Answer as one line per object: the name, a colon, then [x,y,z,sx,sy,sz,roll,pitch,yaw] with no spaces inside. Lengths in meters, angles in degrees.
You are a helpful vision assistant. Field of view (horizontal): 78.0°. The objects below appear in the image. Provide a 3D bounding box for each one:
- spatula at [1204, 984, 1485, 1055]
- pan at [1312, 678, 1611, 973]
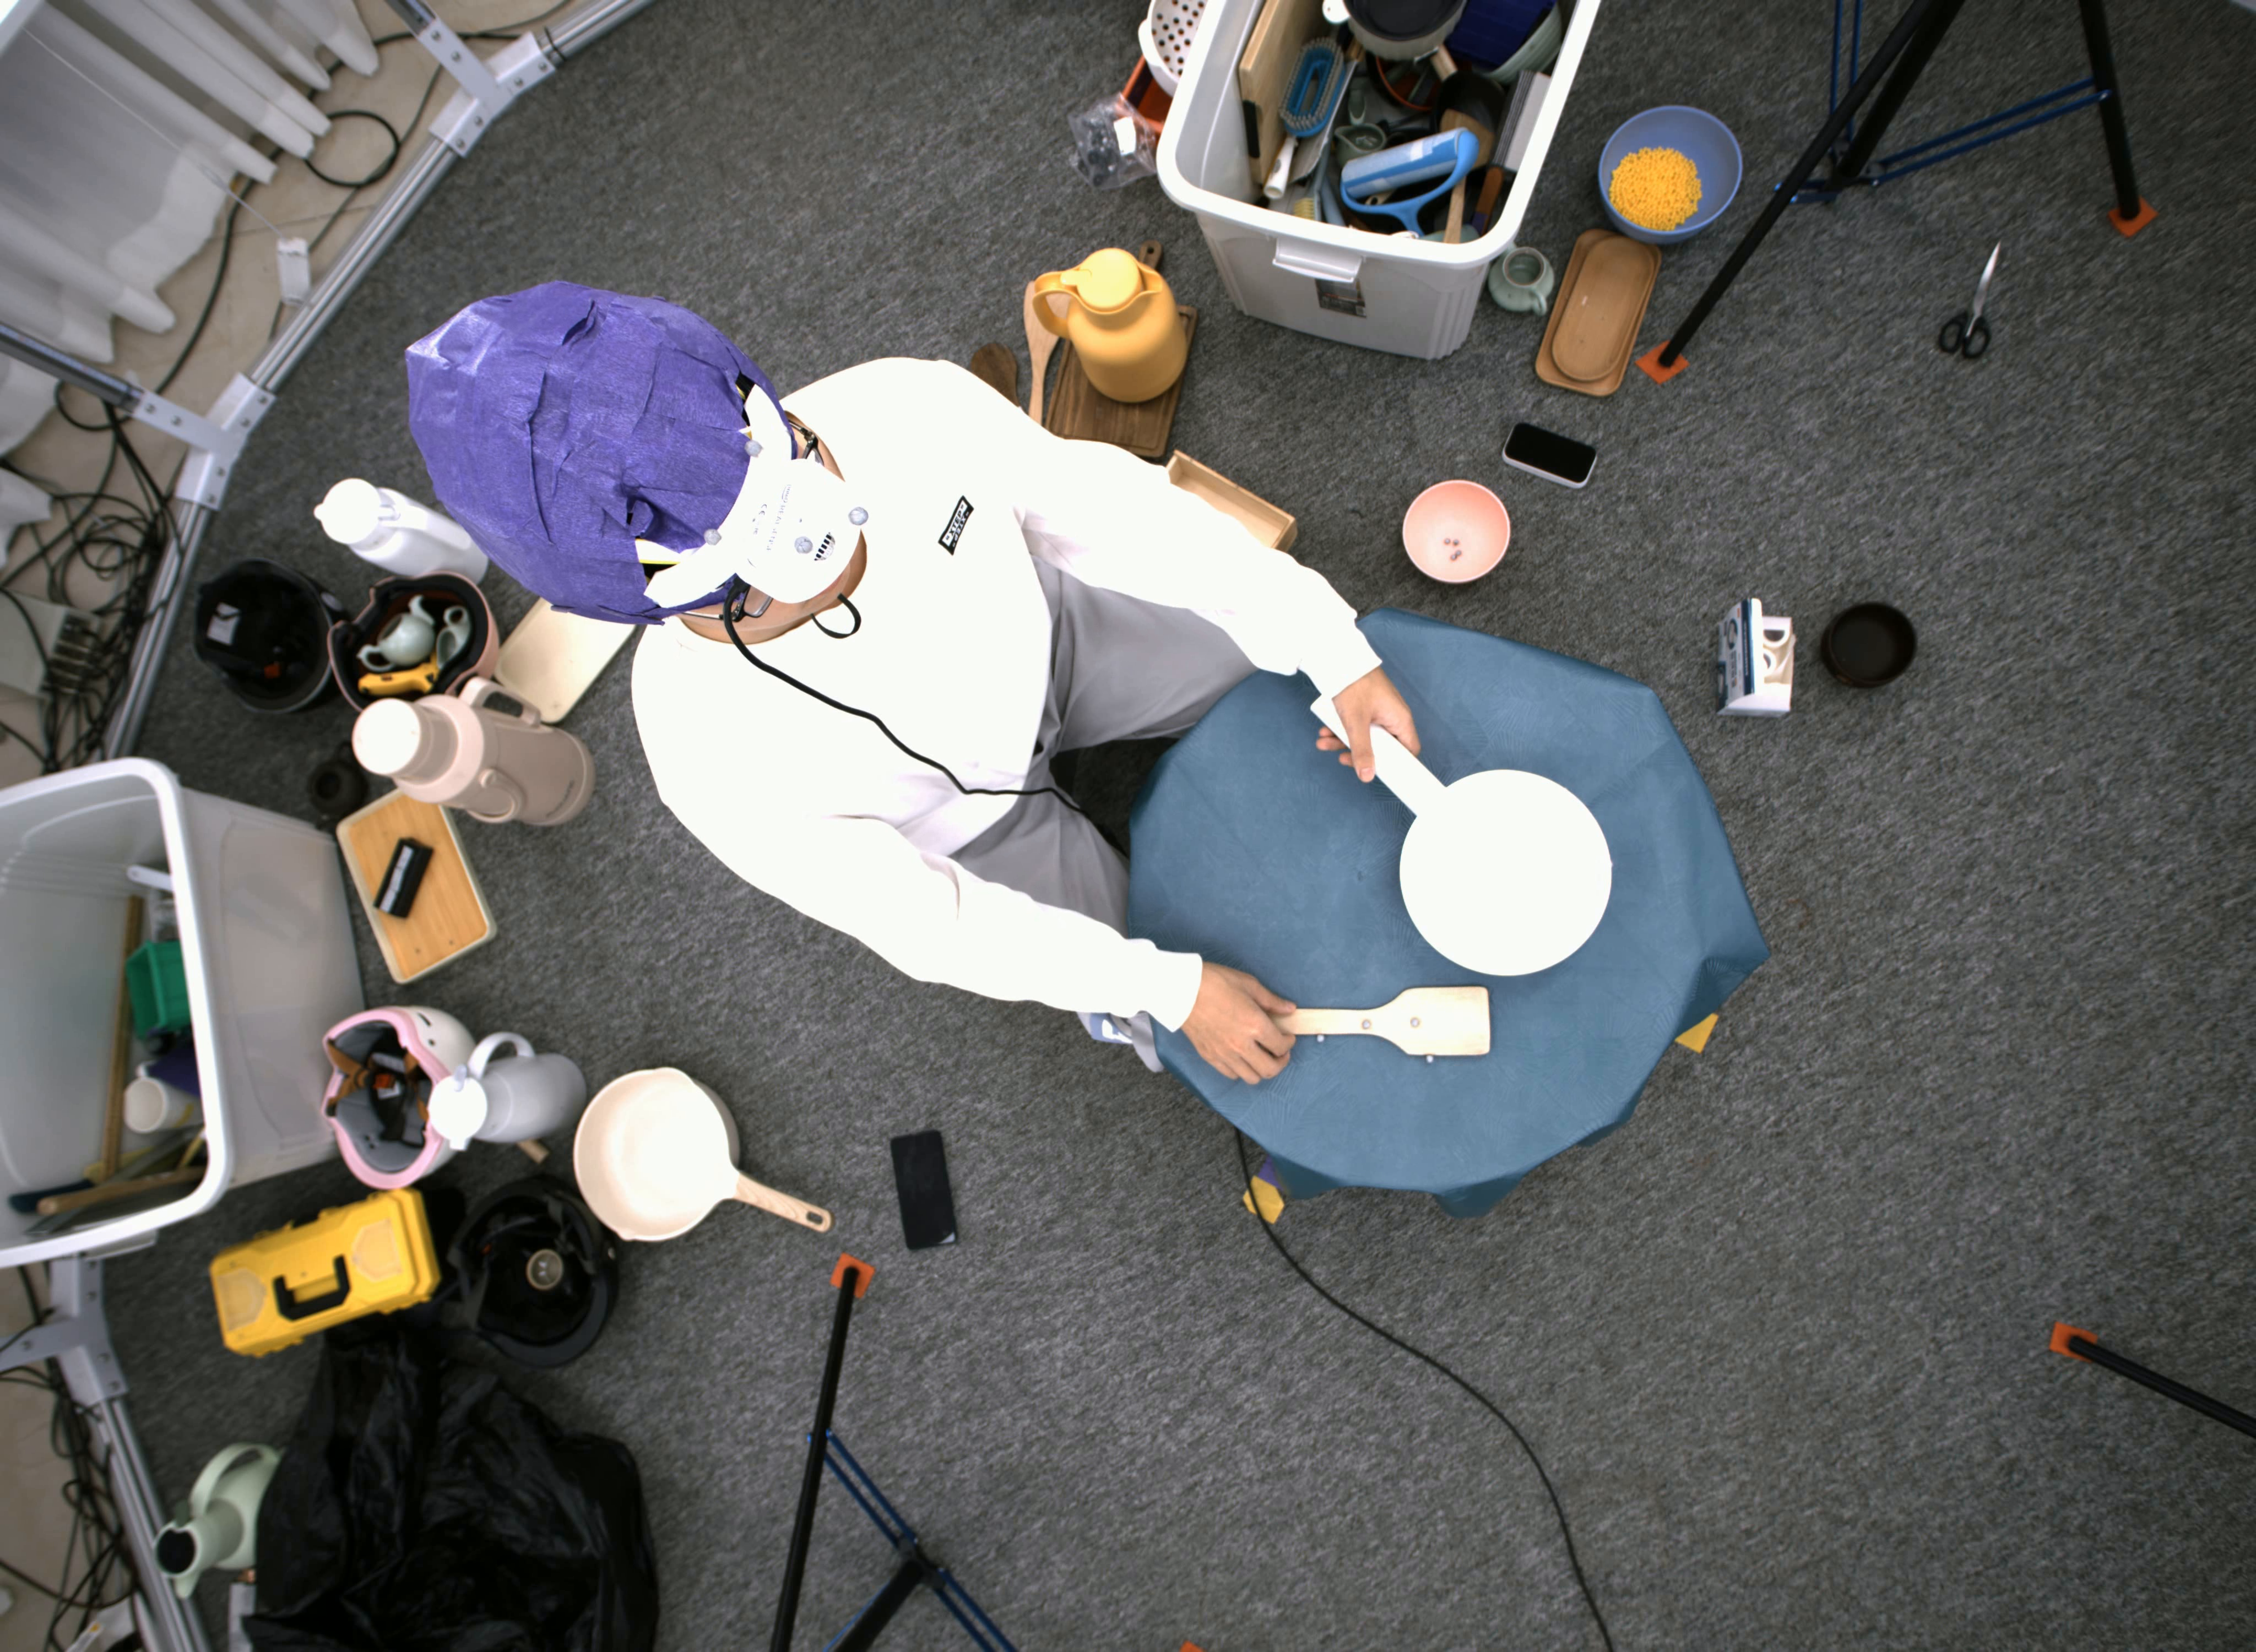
spatula: [0.225,0.203,1.455,0.294,0.011,0.071,-2,82,12]
pan: [0.324,-0.008,1.402,0.202,0.102,0.353,-45,79,5]
